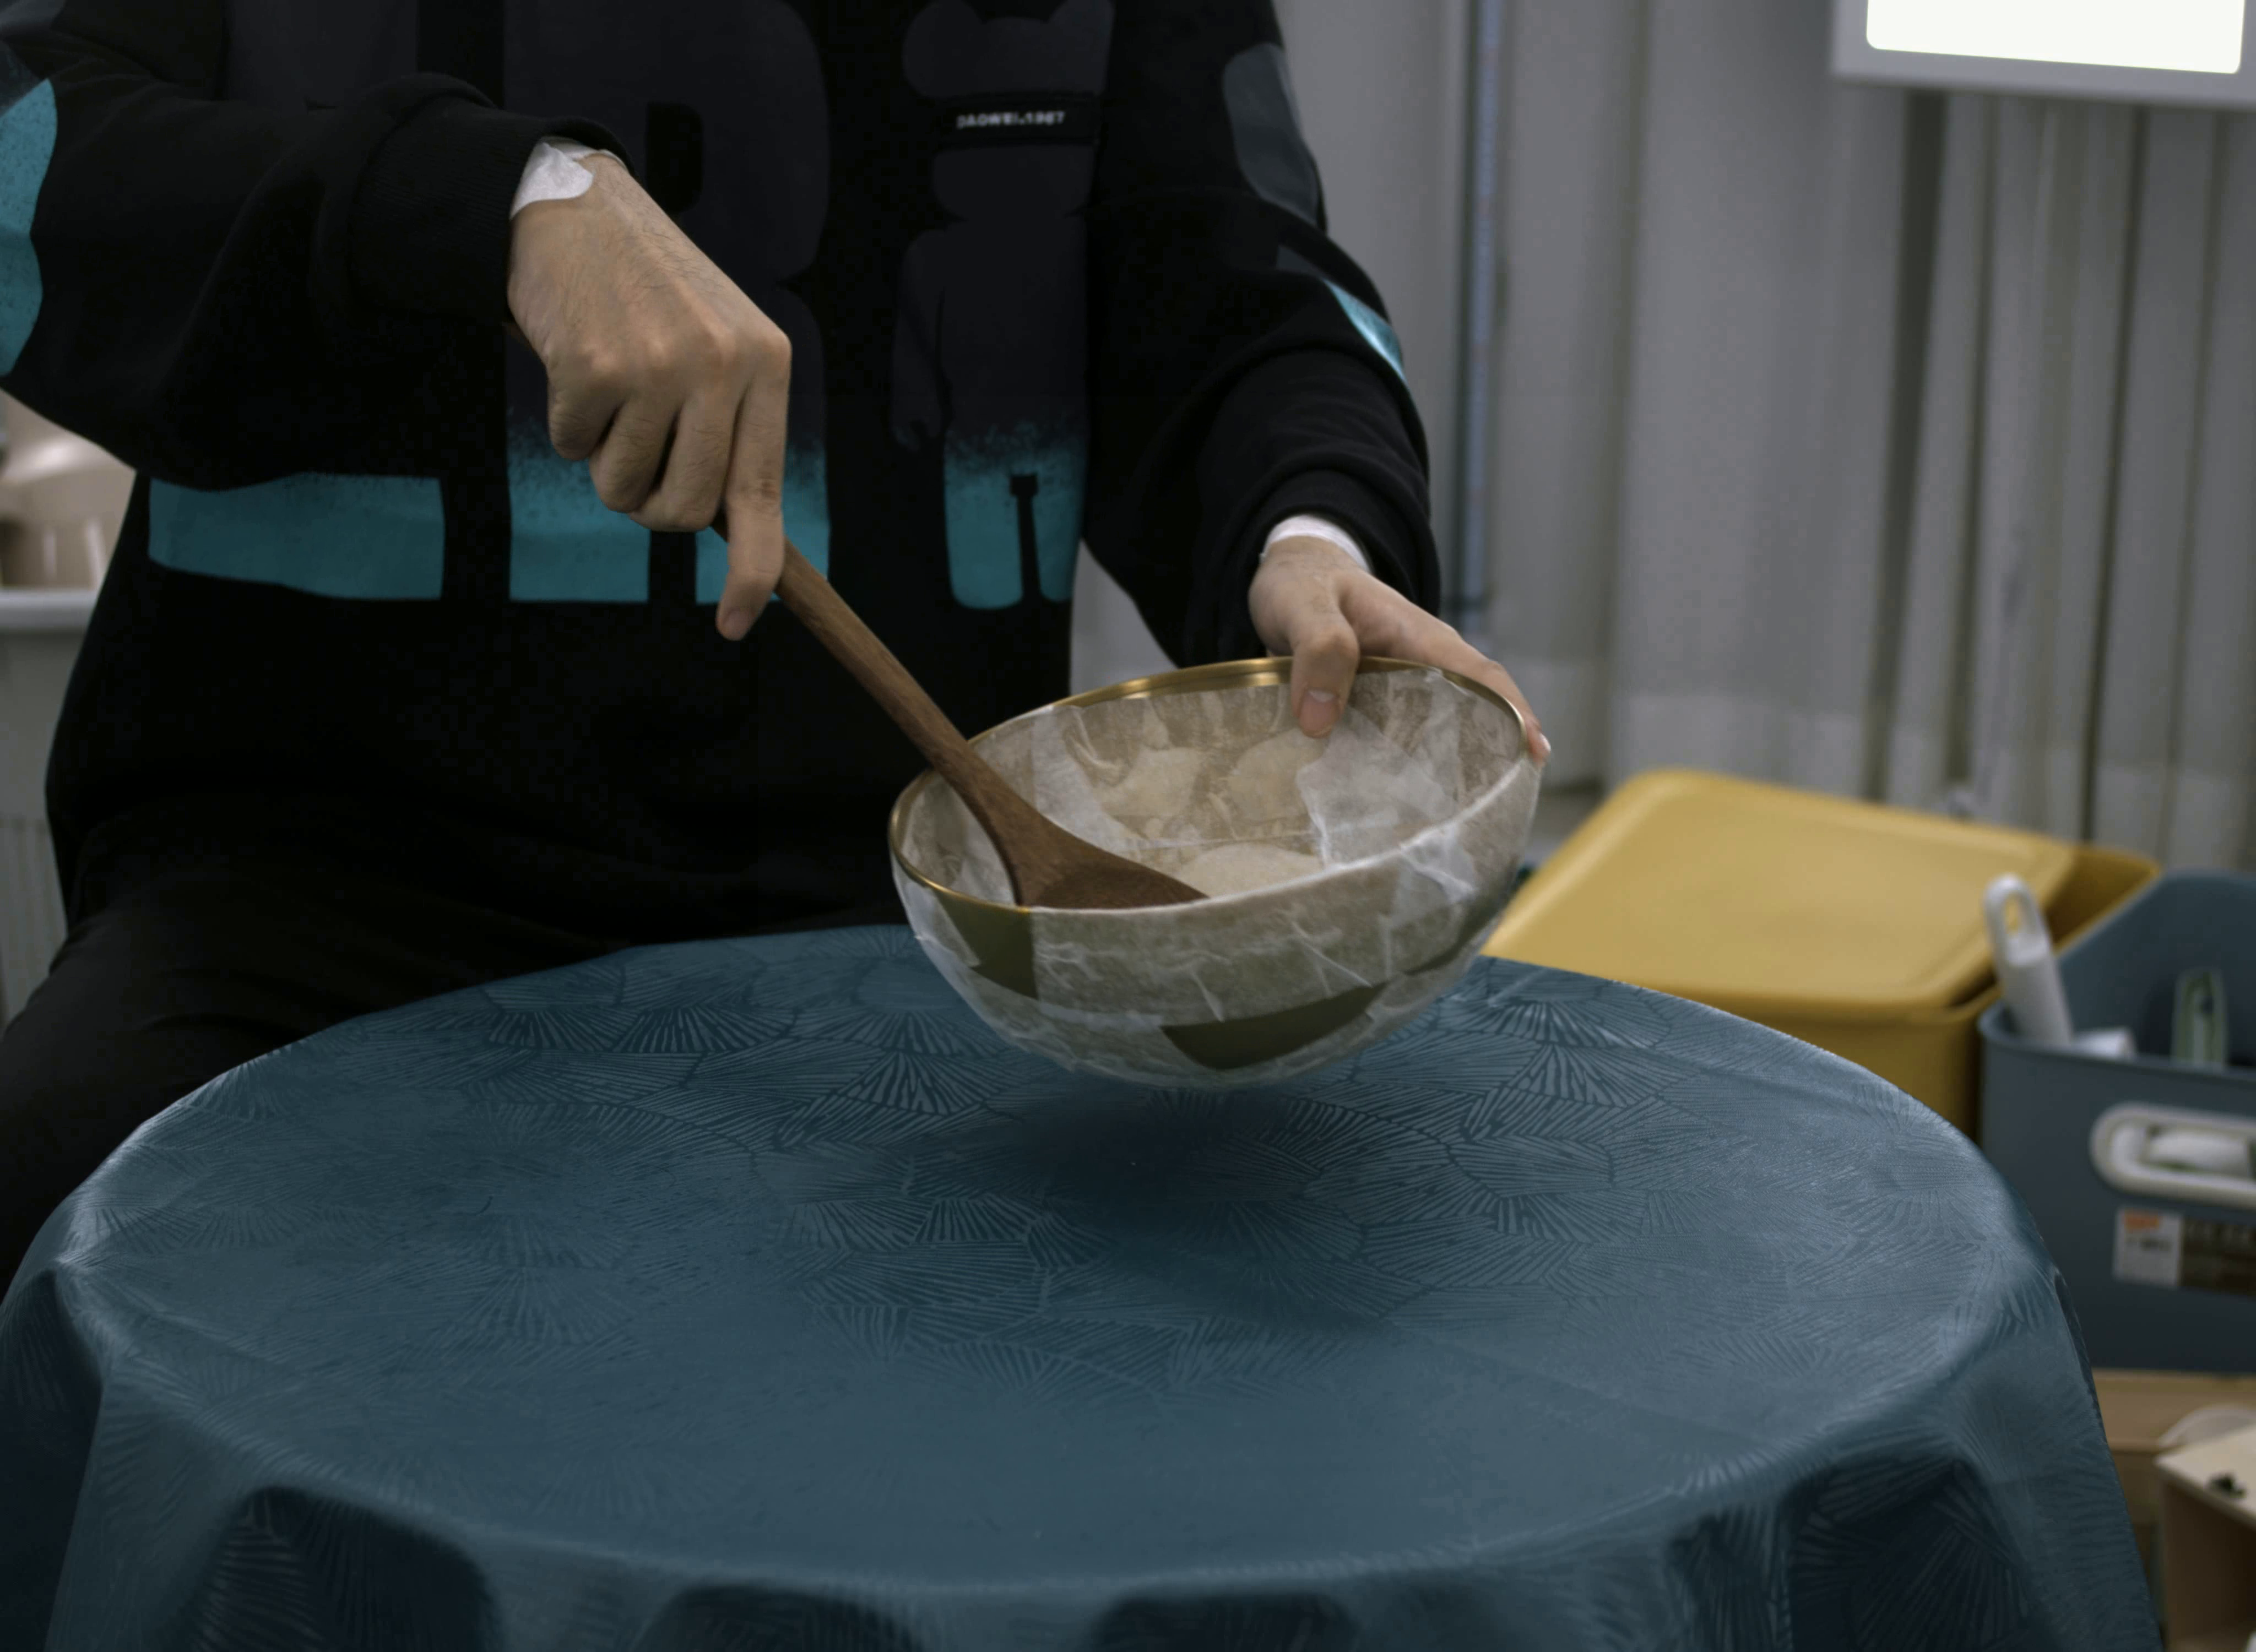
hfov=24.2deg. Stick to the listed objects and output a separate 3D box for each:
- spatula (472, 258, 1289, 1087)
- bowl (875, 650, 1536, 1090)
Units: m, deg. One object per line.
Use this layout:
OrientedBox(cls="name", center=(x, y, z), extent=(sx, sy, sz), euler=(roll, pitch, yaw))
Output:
OrientedBox(cls="spatula", center=(-0.083, -0.056, 1.671), extent=(0.383, 0.016, 0.096), euler=(46, 37, 16))
OrientedBox(cls="bowl", center=(0.032, 0.023, 1.633), extent=(0.214, 0.095, 0.213), euler=(-10, 21, 4))
